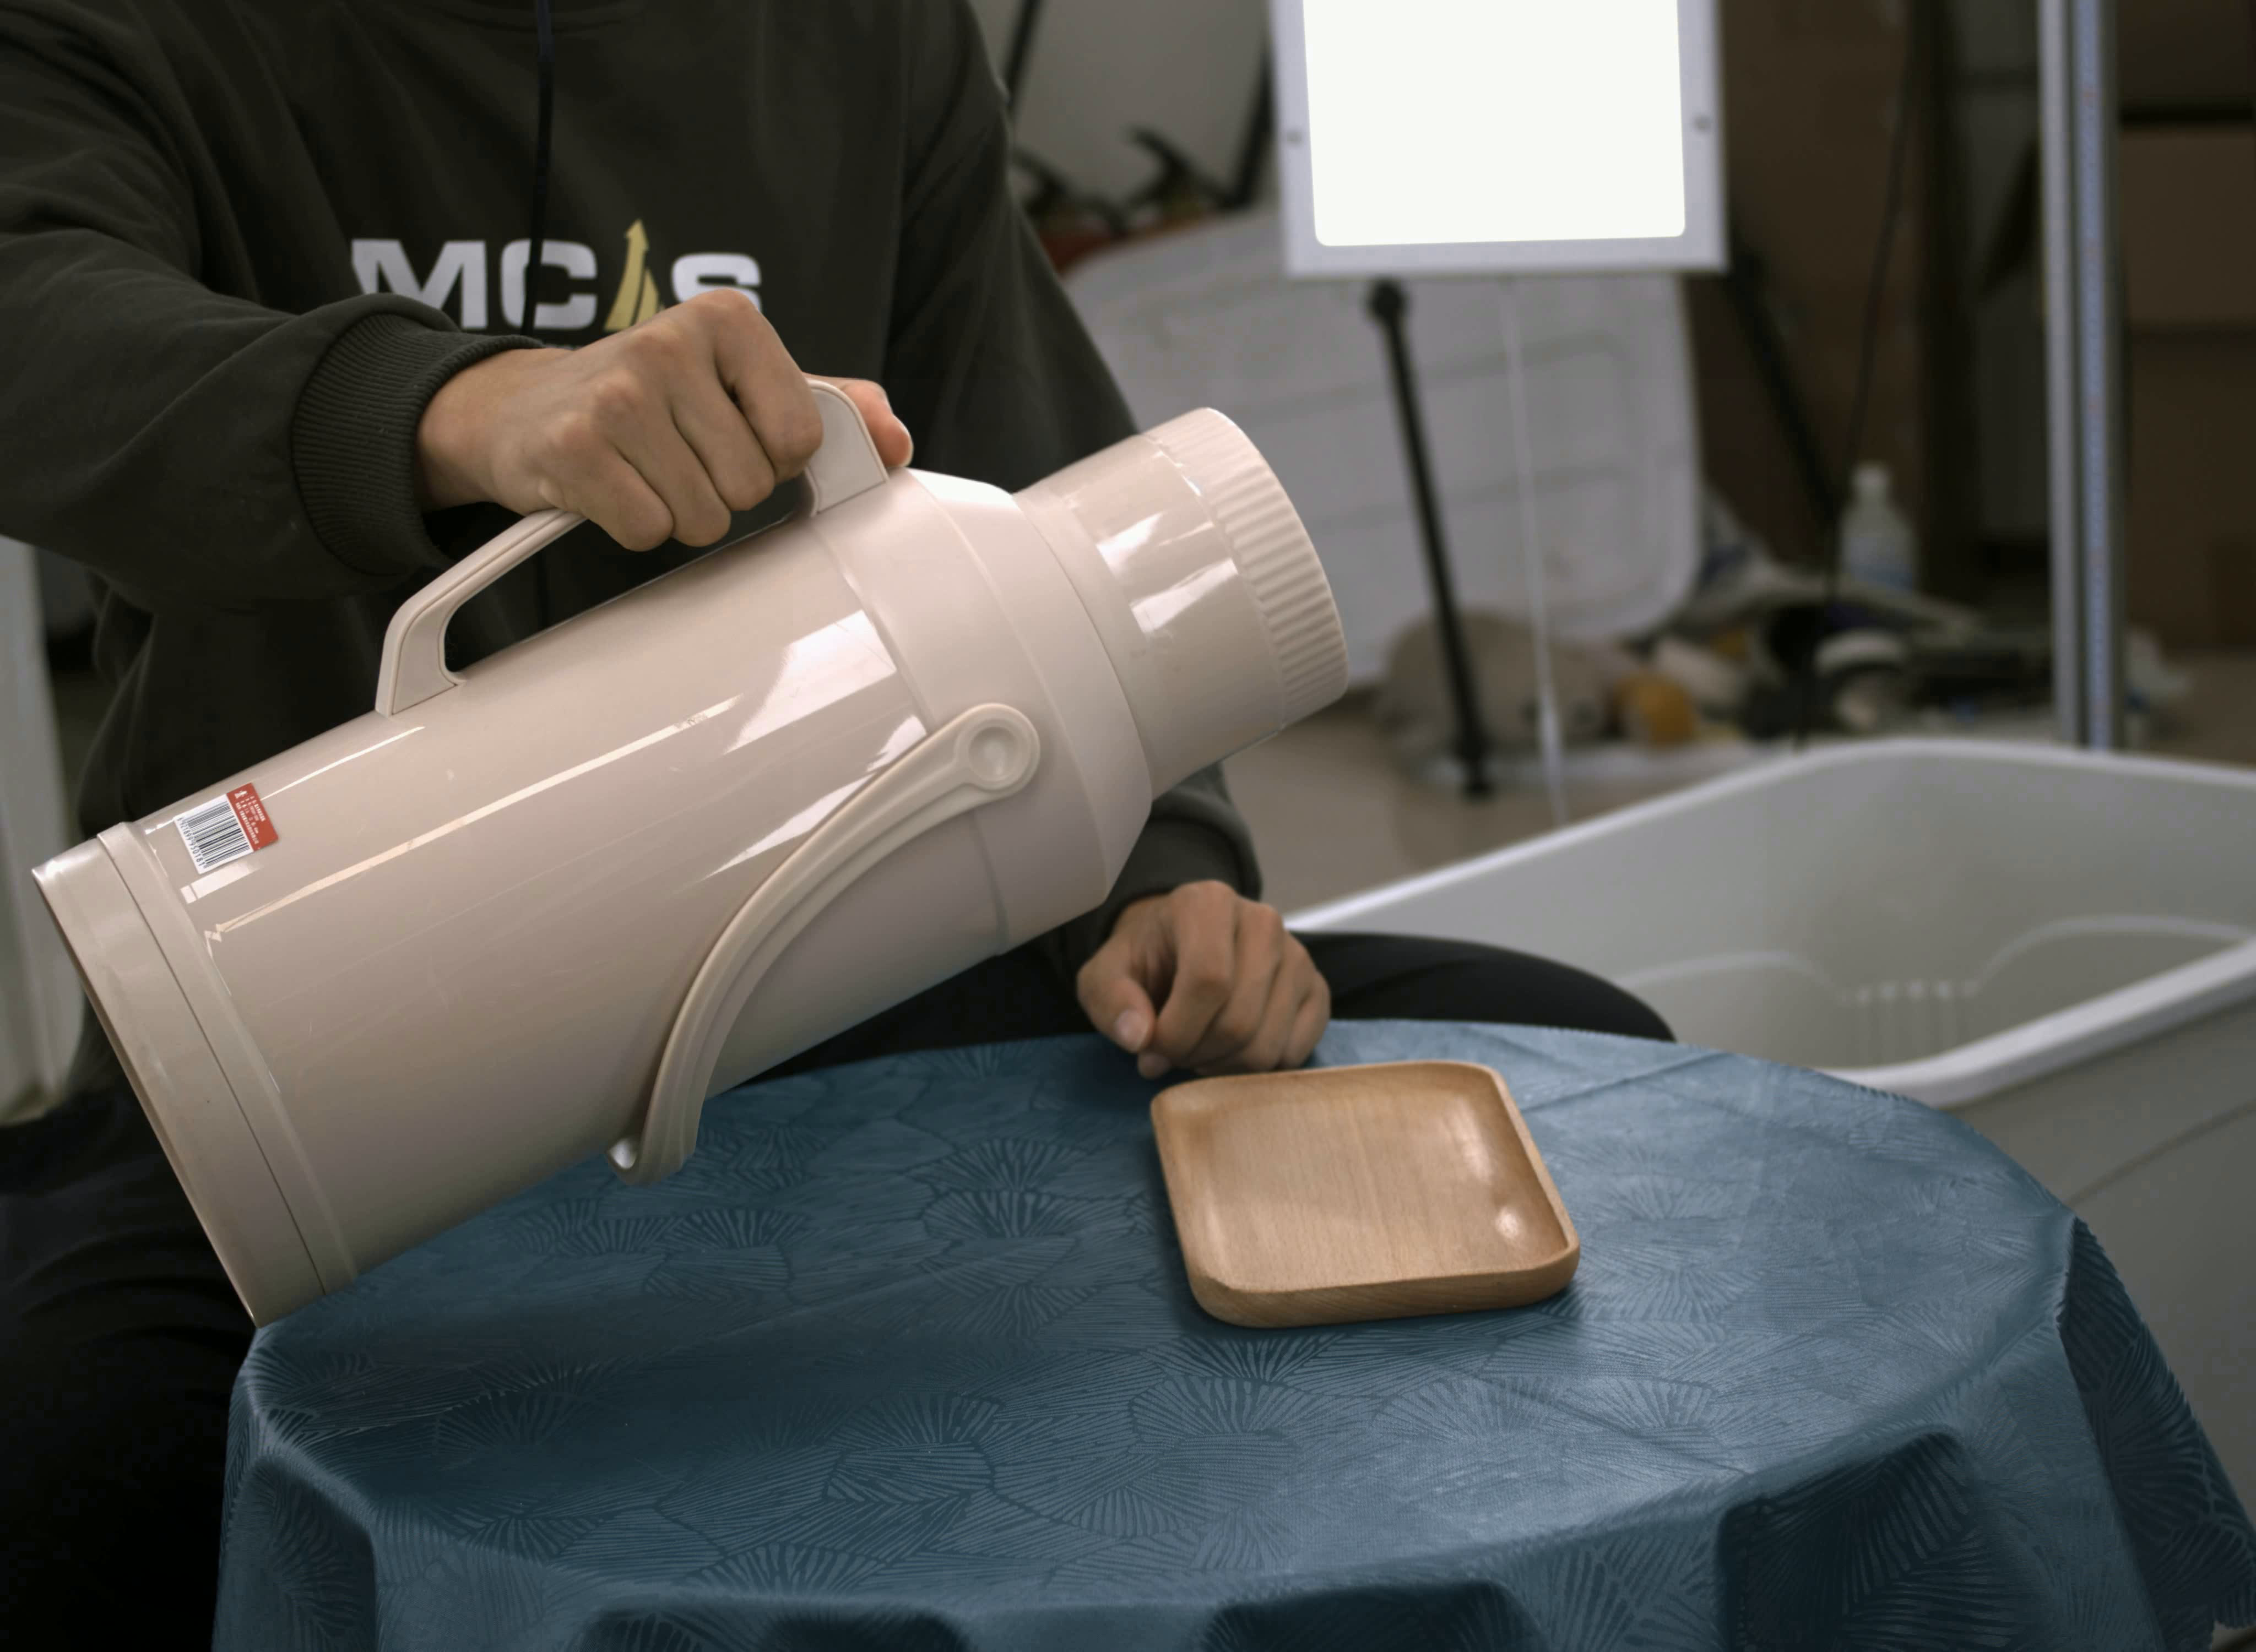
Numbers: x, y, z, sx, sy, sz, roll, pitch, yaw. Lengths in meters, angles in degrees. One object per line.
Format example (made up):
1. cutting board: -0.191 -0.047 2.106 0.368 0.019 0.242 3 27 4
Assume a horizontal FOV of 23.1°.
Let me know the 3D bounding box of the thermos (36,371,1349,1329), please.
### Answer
1. thermos: -0.135 -0.015 1.735 0.403 0.207 0.177 -27 14 -8

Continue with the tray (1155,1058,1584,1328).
1. tray: 0.078 0.122 1.858 0.130 0.023 0.250 -3 13 -1
